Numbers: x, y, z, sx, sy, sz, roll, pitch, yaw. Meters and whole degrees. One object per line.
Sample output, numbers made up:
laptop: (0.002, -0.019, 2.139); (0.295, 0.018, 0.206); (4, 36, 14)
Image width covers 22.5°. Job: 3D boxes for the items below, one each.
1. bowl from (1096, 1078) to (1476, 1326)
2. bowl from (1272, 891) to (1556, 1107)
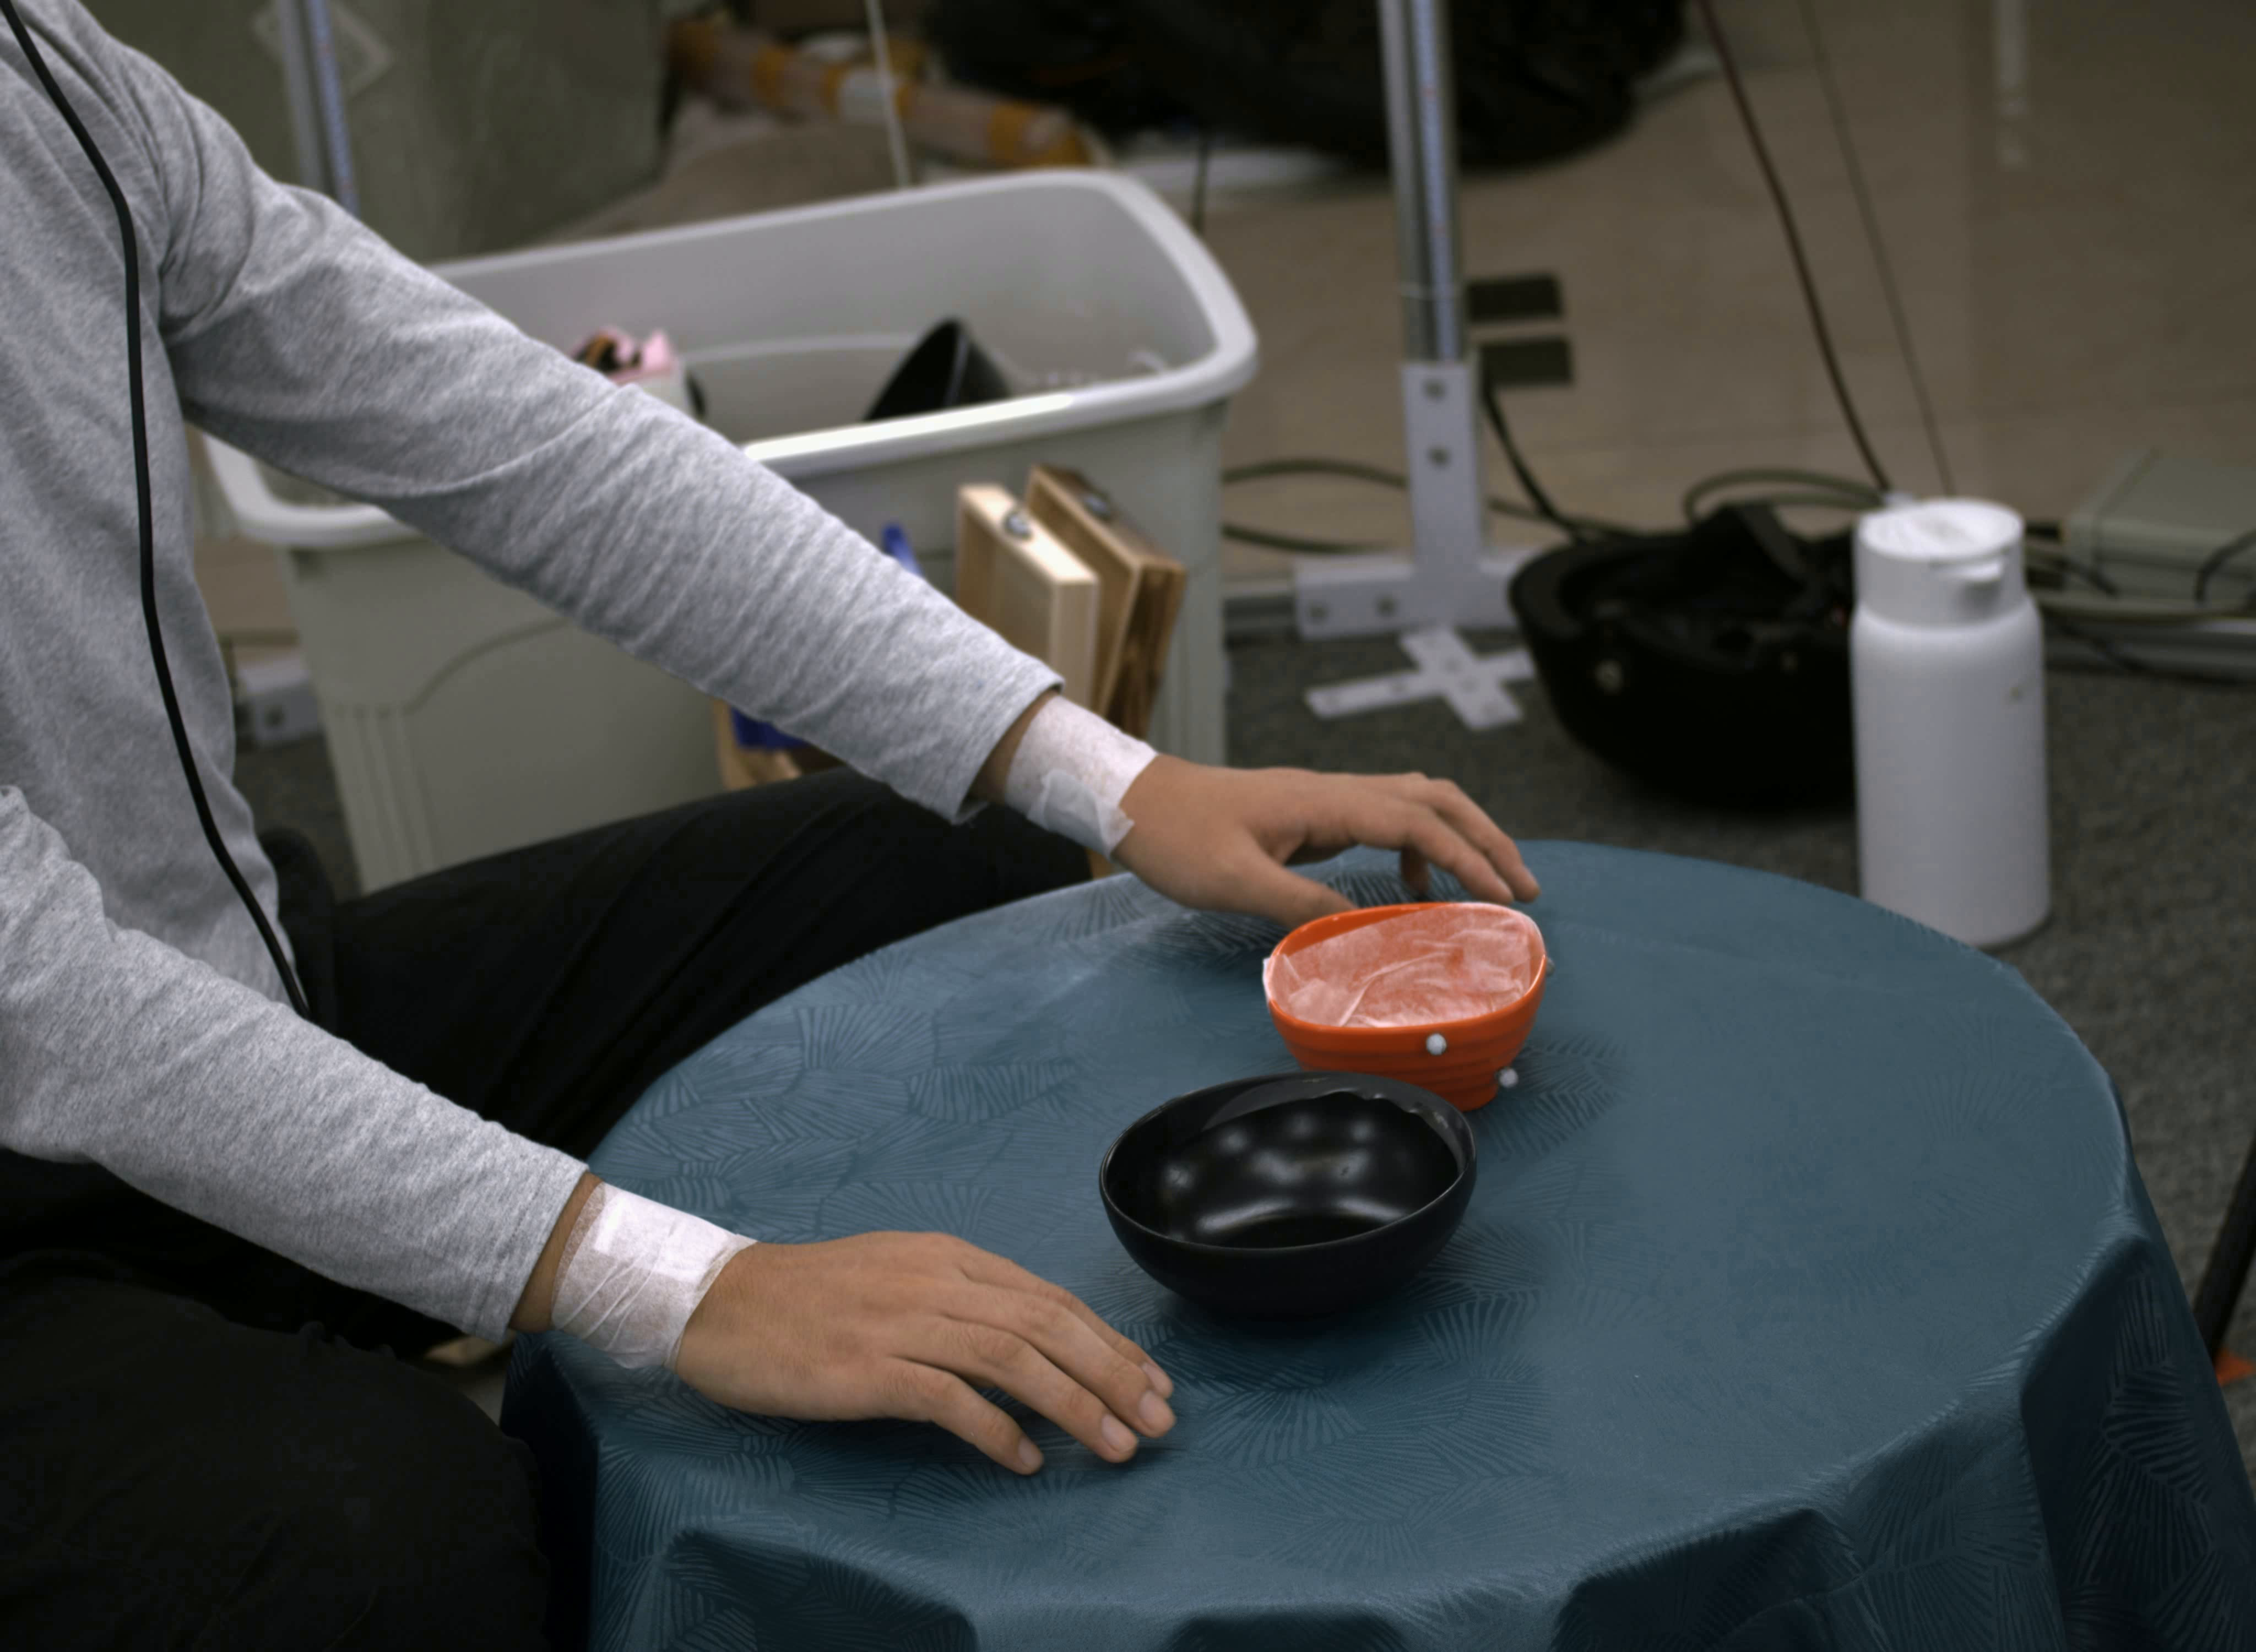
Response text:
bowl: (0.060, 0.144, 2.071); (0.140, 0.050, 0.138); (-8, 23, 4)
bowl: (0.111, 0.071, 2.200); (0.119, 0.052, 0.117); (-1, 27, 1)
